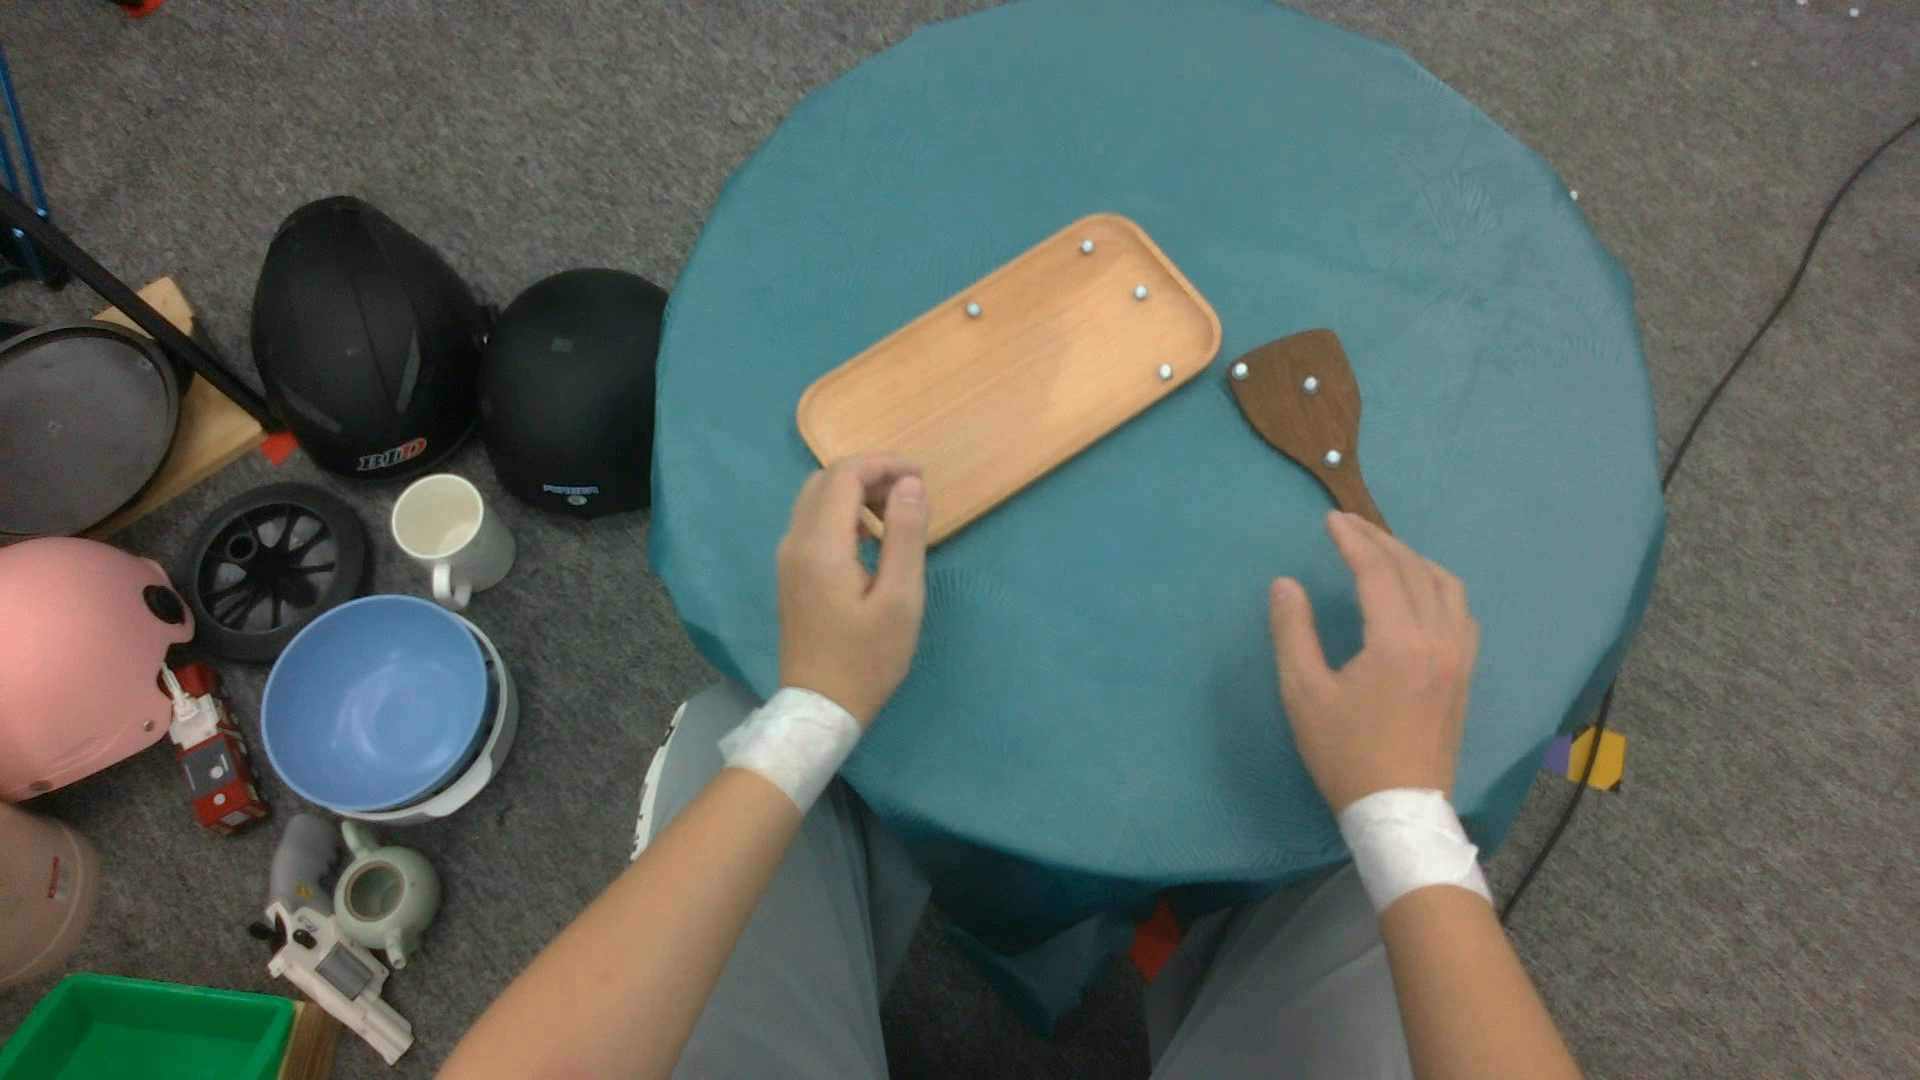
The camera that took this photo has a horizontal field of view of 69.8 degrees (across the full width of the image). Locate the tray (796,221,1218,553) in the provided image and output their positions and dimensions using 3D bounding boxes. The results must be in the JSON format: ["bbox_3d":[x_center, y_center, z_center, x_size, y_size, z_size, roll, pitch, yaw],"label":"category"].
[{"bbox_3d":[0.030,-0.096,0.836,0.251,0.023,0.131,-32,68,-11],"label":"tray"}]

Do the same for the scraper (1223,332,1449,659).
[{"bbox_3d":[0.227,-0.027,0.808,0.076,0.011,0.212,-19,69,-6],"label":"scraper"}]
